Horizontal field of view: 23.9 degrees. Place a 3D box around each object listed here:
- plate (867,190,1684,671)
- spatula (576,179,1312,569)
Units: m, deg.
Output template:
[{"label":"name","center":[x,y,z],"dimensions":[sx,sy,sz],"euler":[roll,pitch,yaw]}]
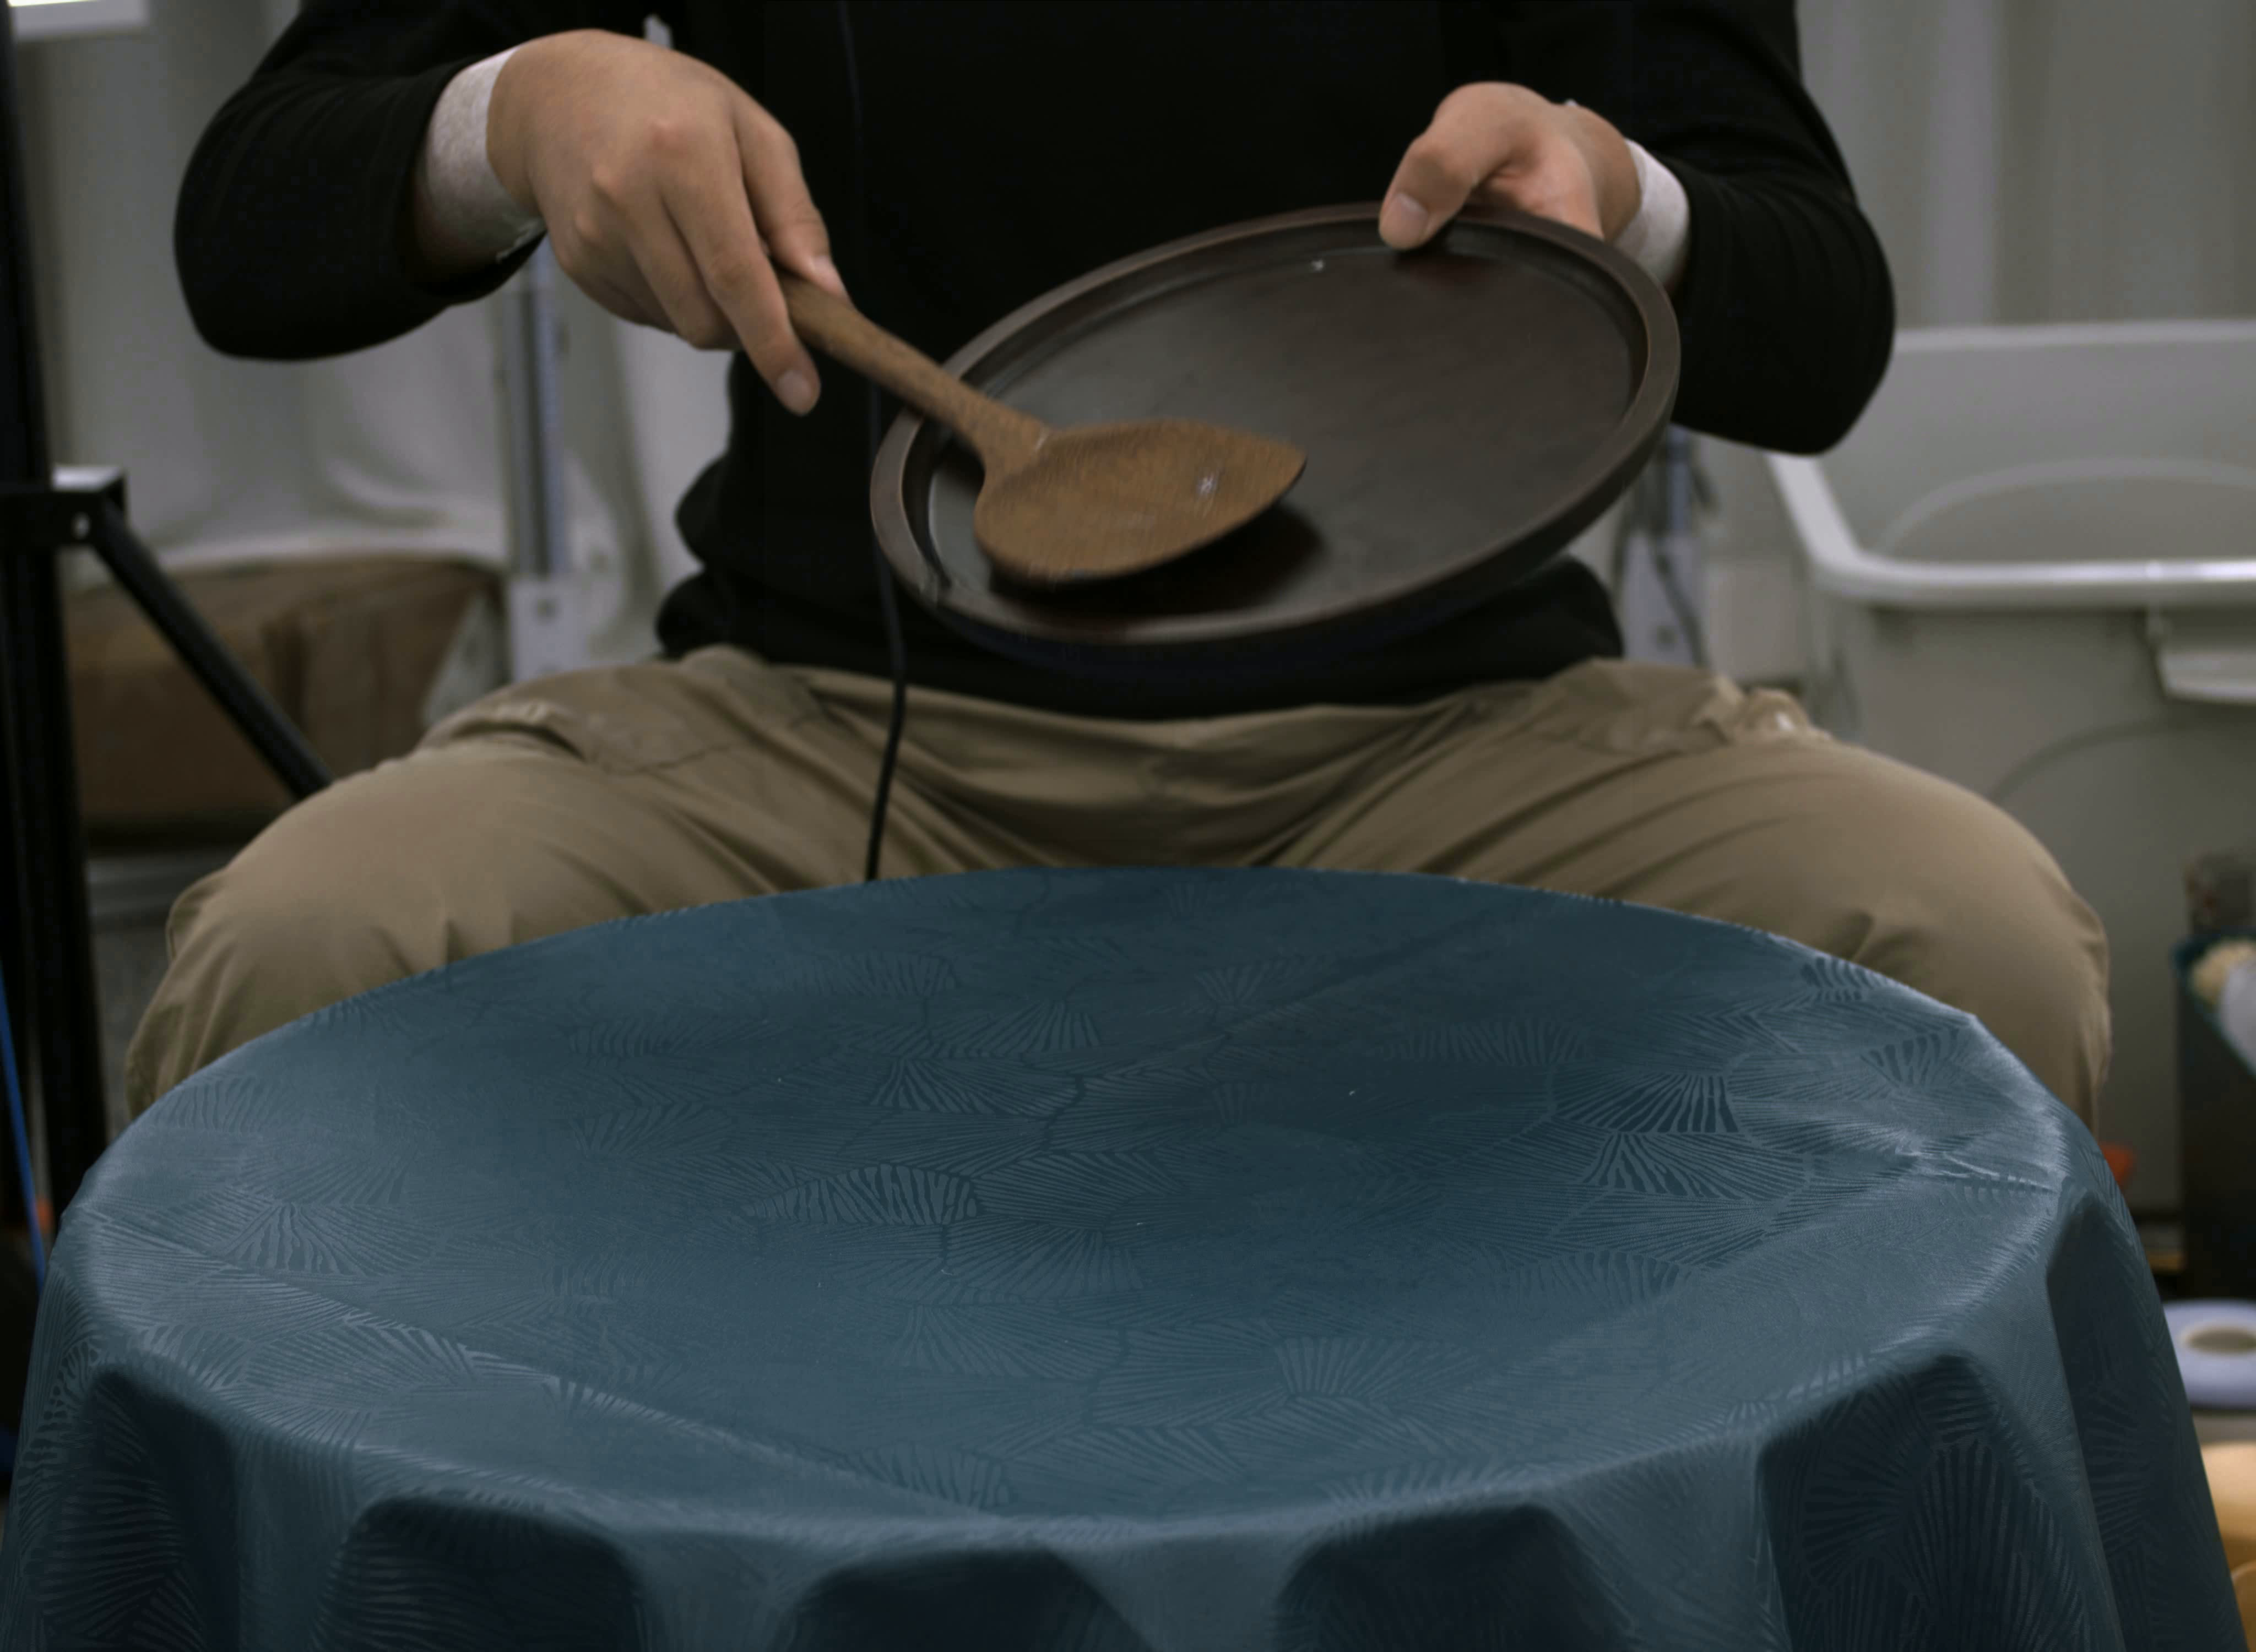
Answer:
[{"label":"plate","center":[0.045,-0.121,1.623],"dimensions":[0.255,0.029,0.257],"euler":[-12,33,7]},{"label":"spatula","center":[-0.080,-0.152,1.699],"dimensions":[0.094,0.015,0.395],"euler":[-28,34,-22]}]
